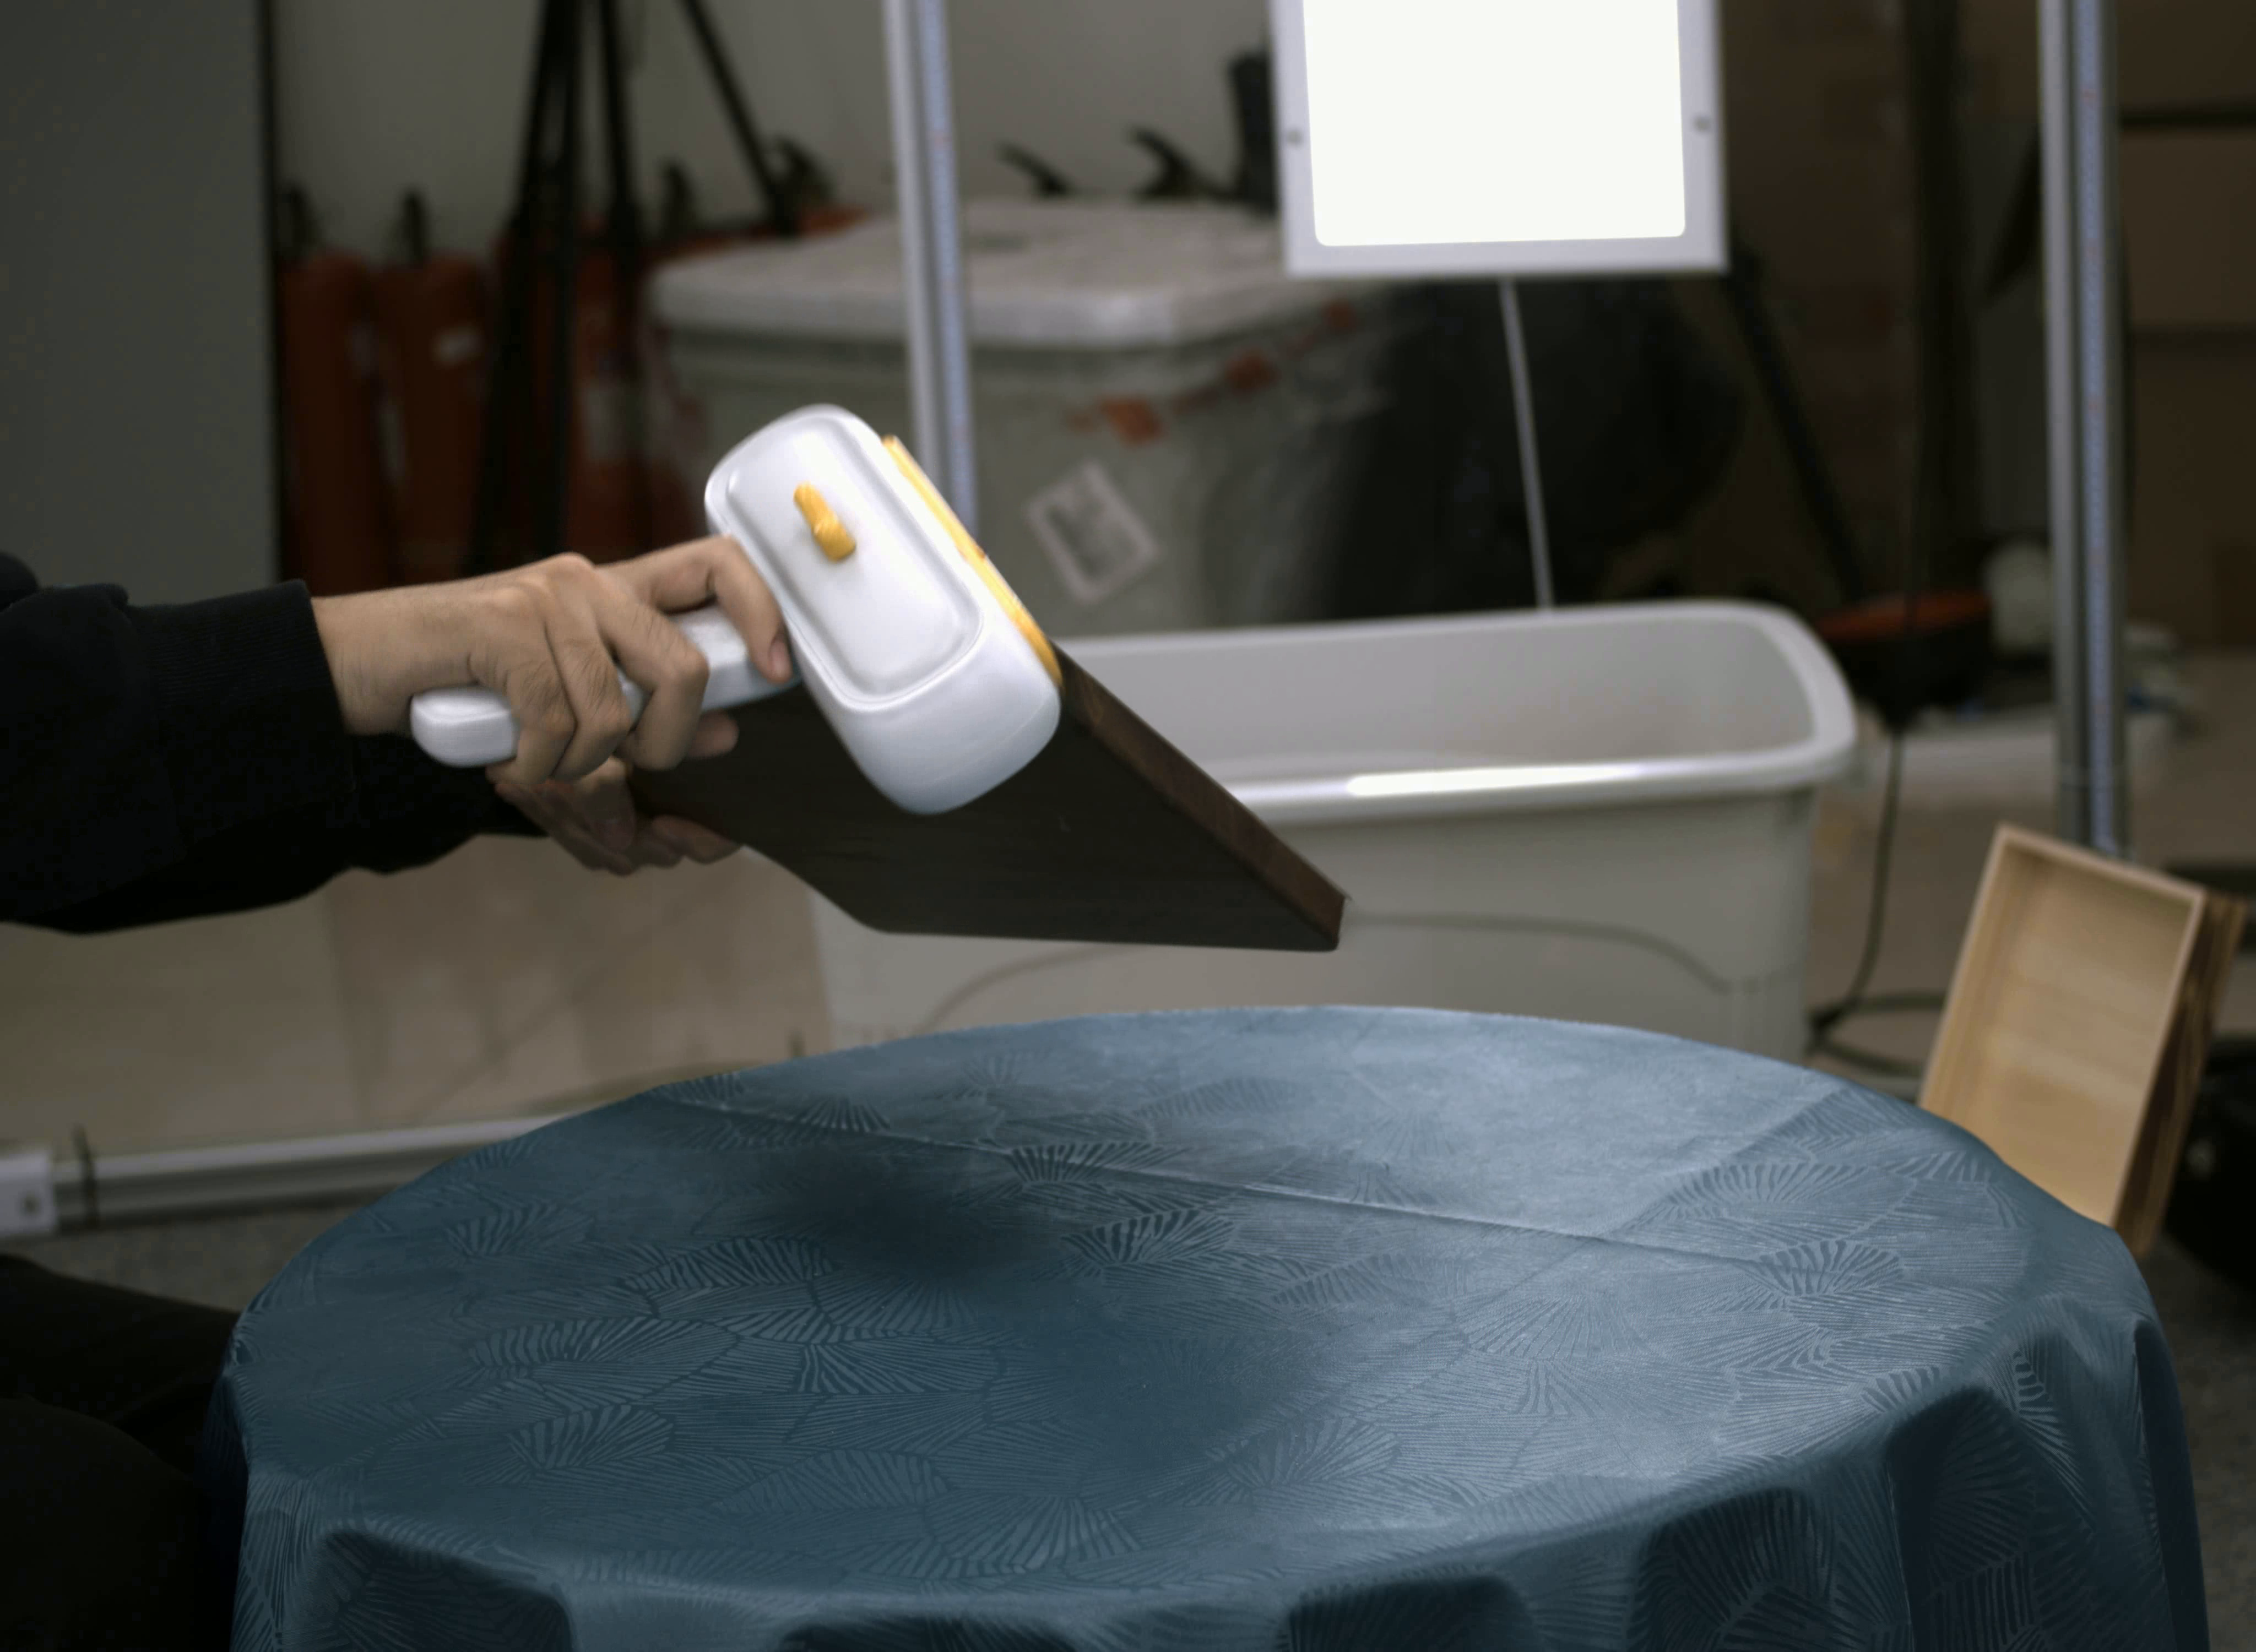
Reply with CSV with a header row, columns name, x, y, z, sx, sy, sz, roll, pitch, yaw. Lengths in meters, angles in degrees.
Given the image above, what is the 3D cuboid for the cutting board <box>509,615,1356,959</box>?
name,x,y,z,sx,sy,sz,roll,pitch,yaw
cutting board,-0.101,-0.014,1.952,0.360,0.023,0.198,0,-32,47

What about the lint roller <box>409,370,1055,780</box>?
name,x,y,z,sx,sy,sz,roll,pitch,yaw
lint roller,-0.137,-0.059,1.766,0.191,0.074,0.195,-29,43,-8
